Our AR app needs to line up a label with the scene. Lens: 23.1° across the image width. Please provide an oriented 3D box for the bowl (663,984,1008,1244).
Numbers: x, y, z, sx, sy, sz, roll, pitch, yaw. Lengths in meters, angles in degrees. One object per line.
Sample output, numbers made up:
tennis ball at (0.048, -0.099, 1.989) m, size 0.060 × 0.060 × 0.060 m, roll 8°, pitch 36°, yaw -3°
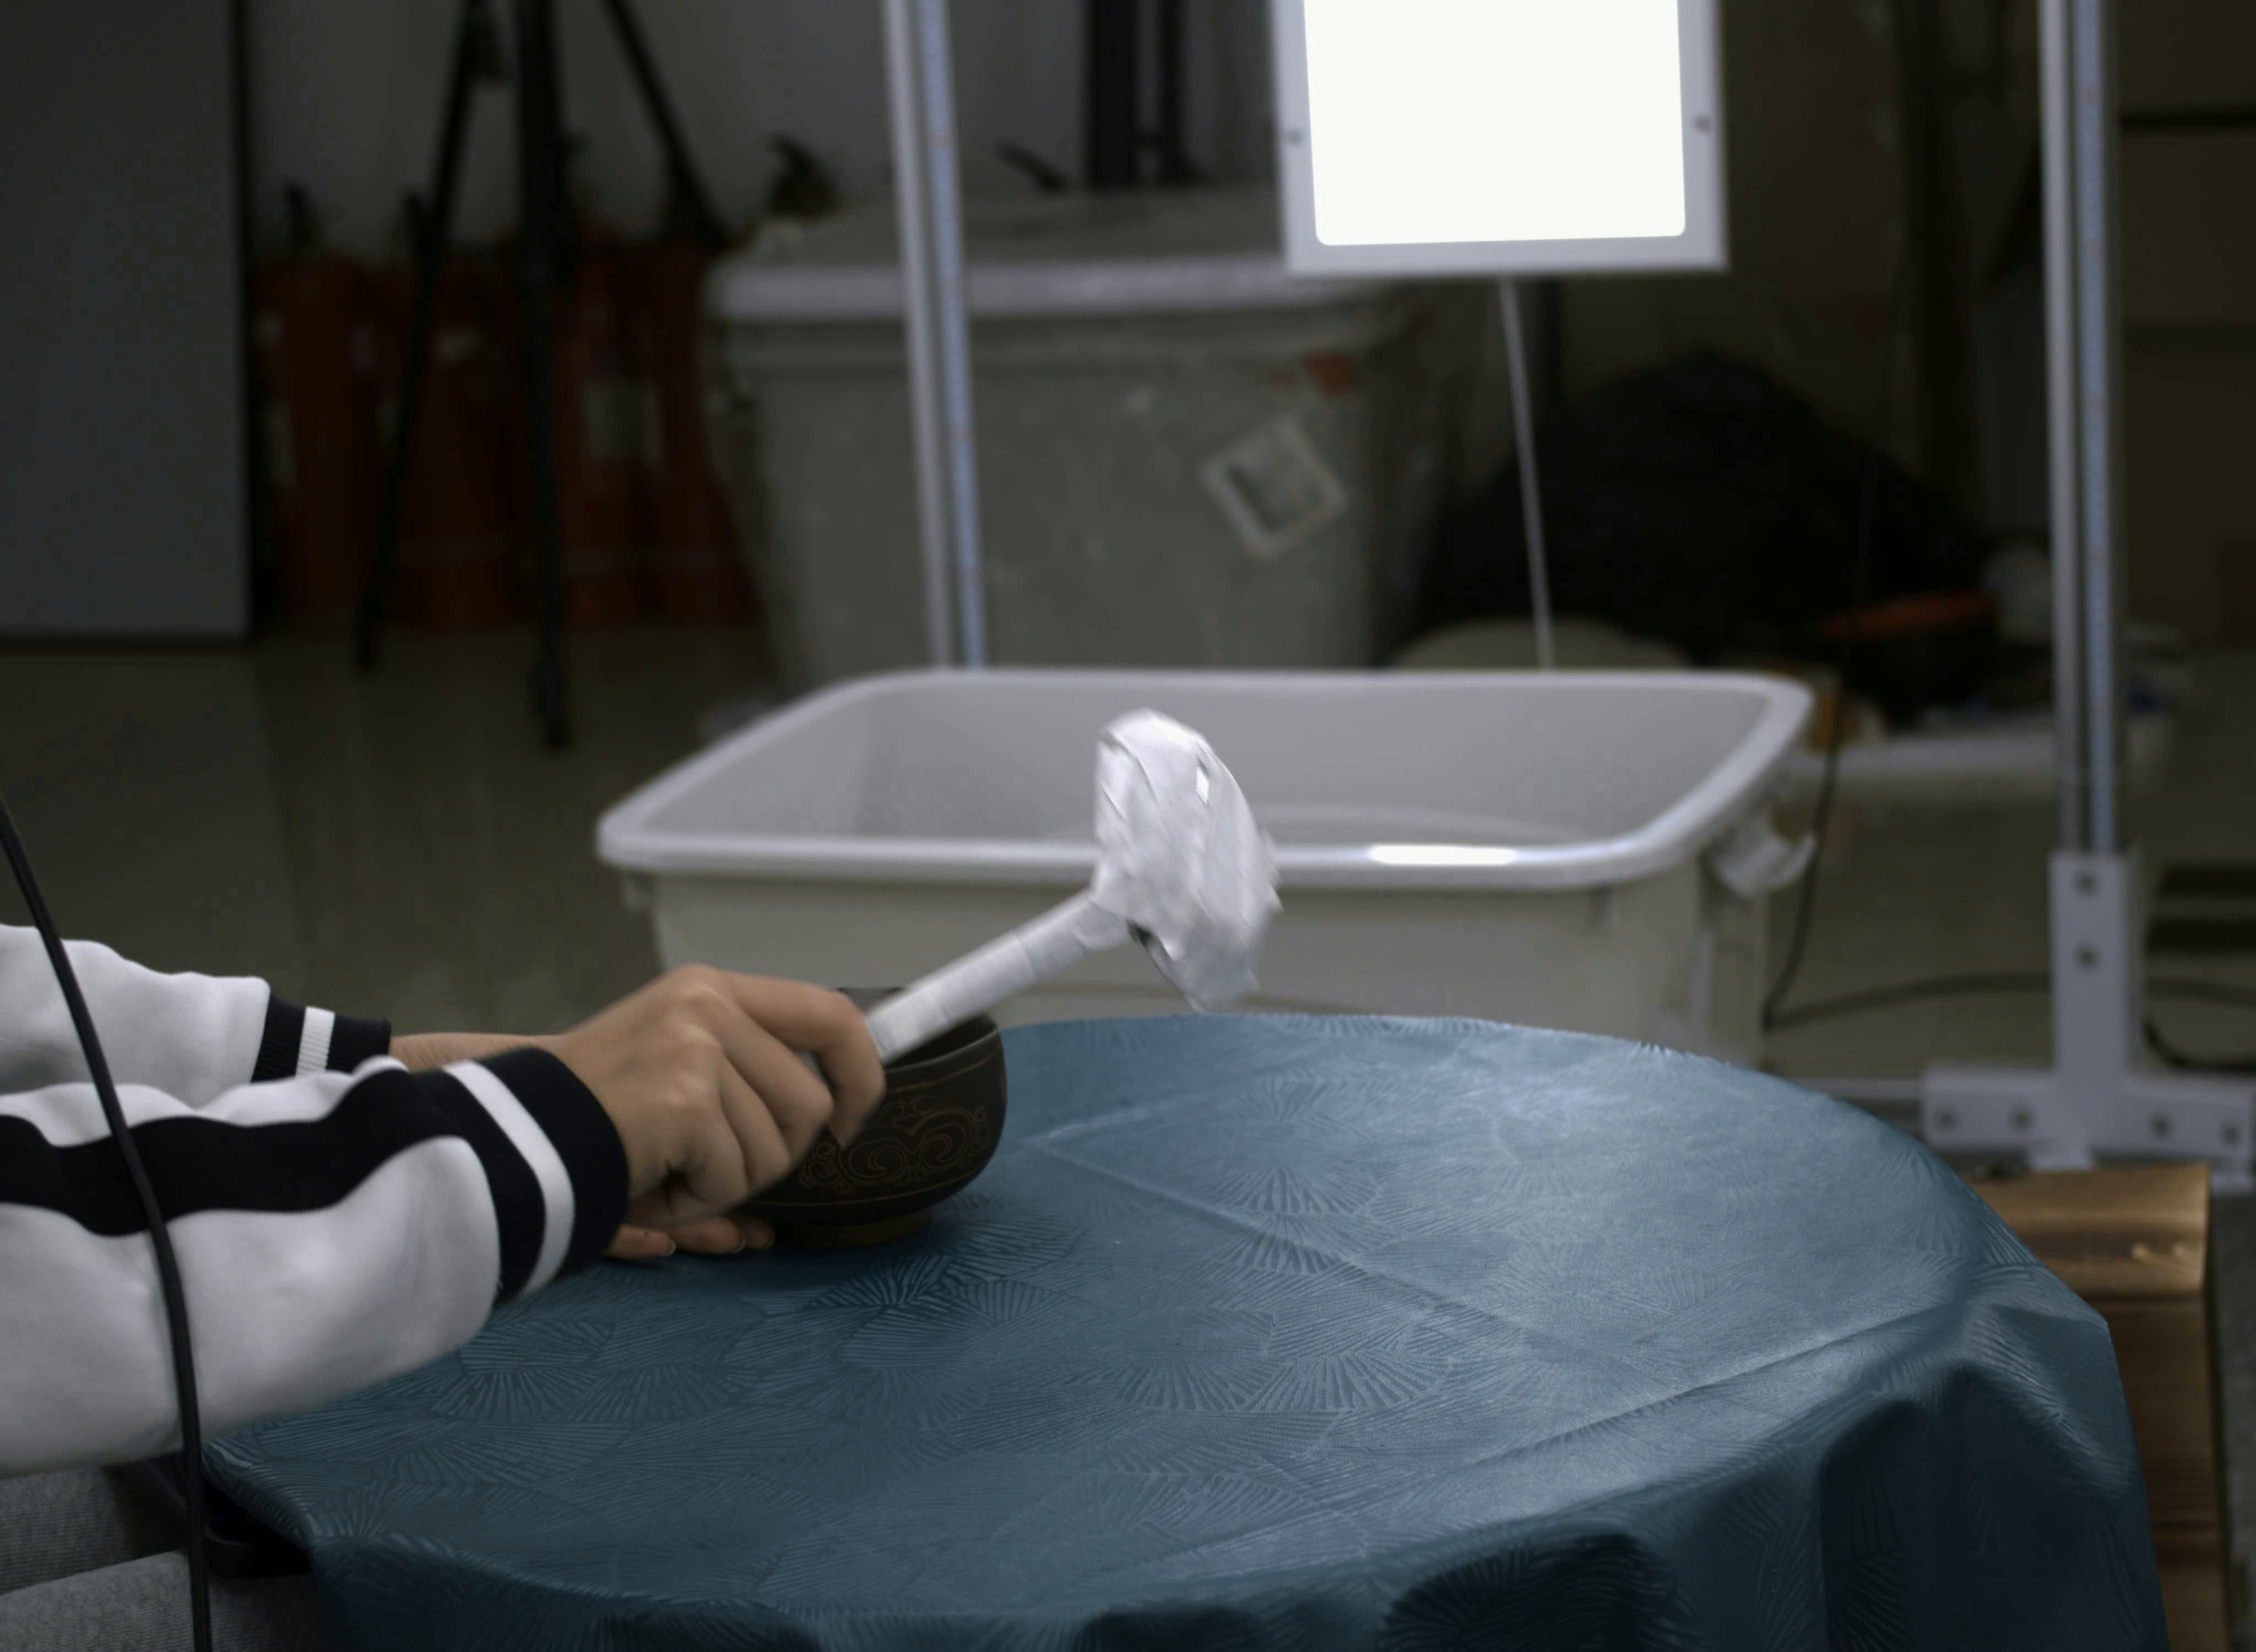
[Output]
bowl at (-0.098, 0.102, 1.883) m, size 0.118 × 0.070 × 0.118 m, roll -5°, pitch 13°, yaw 0°

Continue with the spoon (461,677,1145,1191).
spoon at (-0.097, 0.042, 1.690) m, size 0.272 × 0.101 × 0.060 m, roll -26°, pitch 39°, yaw -24°
